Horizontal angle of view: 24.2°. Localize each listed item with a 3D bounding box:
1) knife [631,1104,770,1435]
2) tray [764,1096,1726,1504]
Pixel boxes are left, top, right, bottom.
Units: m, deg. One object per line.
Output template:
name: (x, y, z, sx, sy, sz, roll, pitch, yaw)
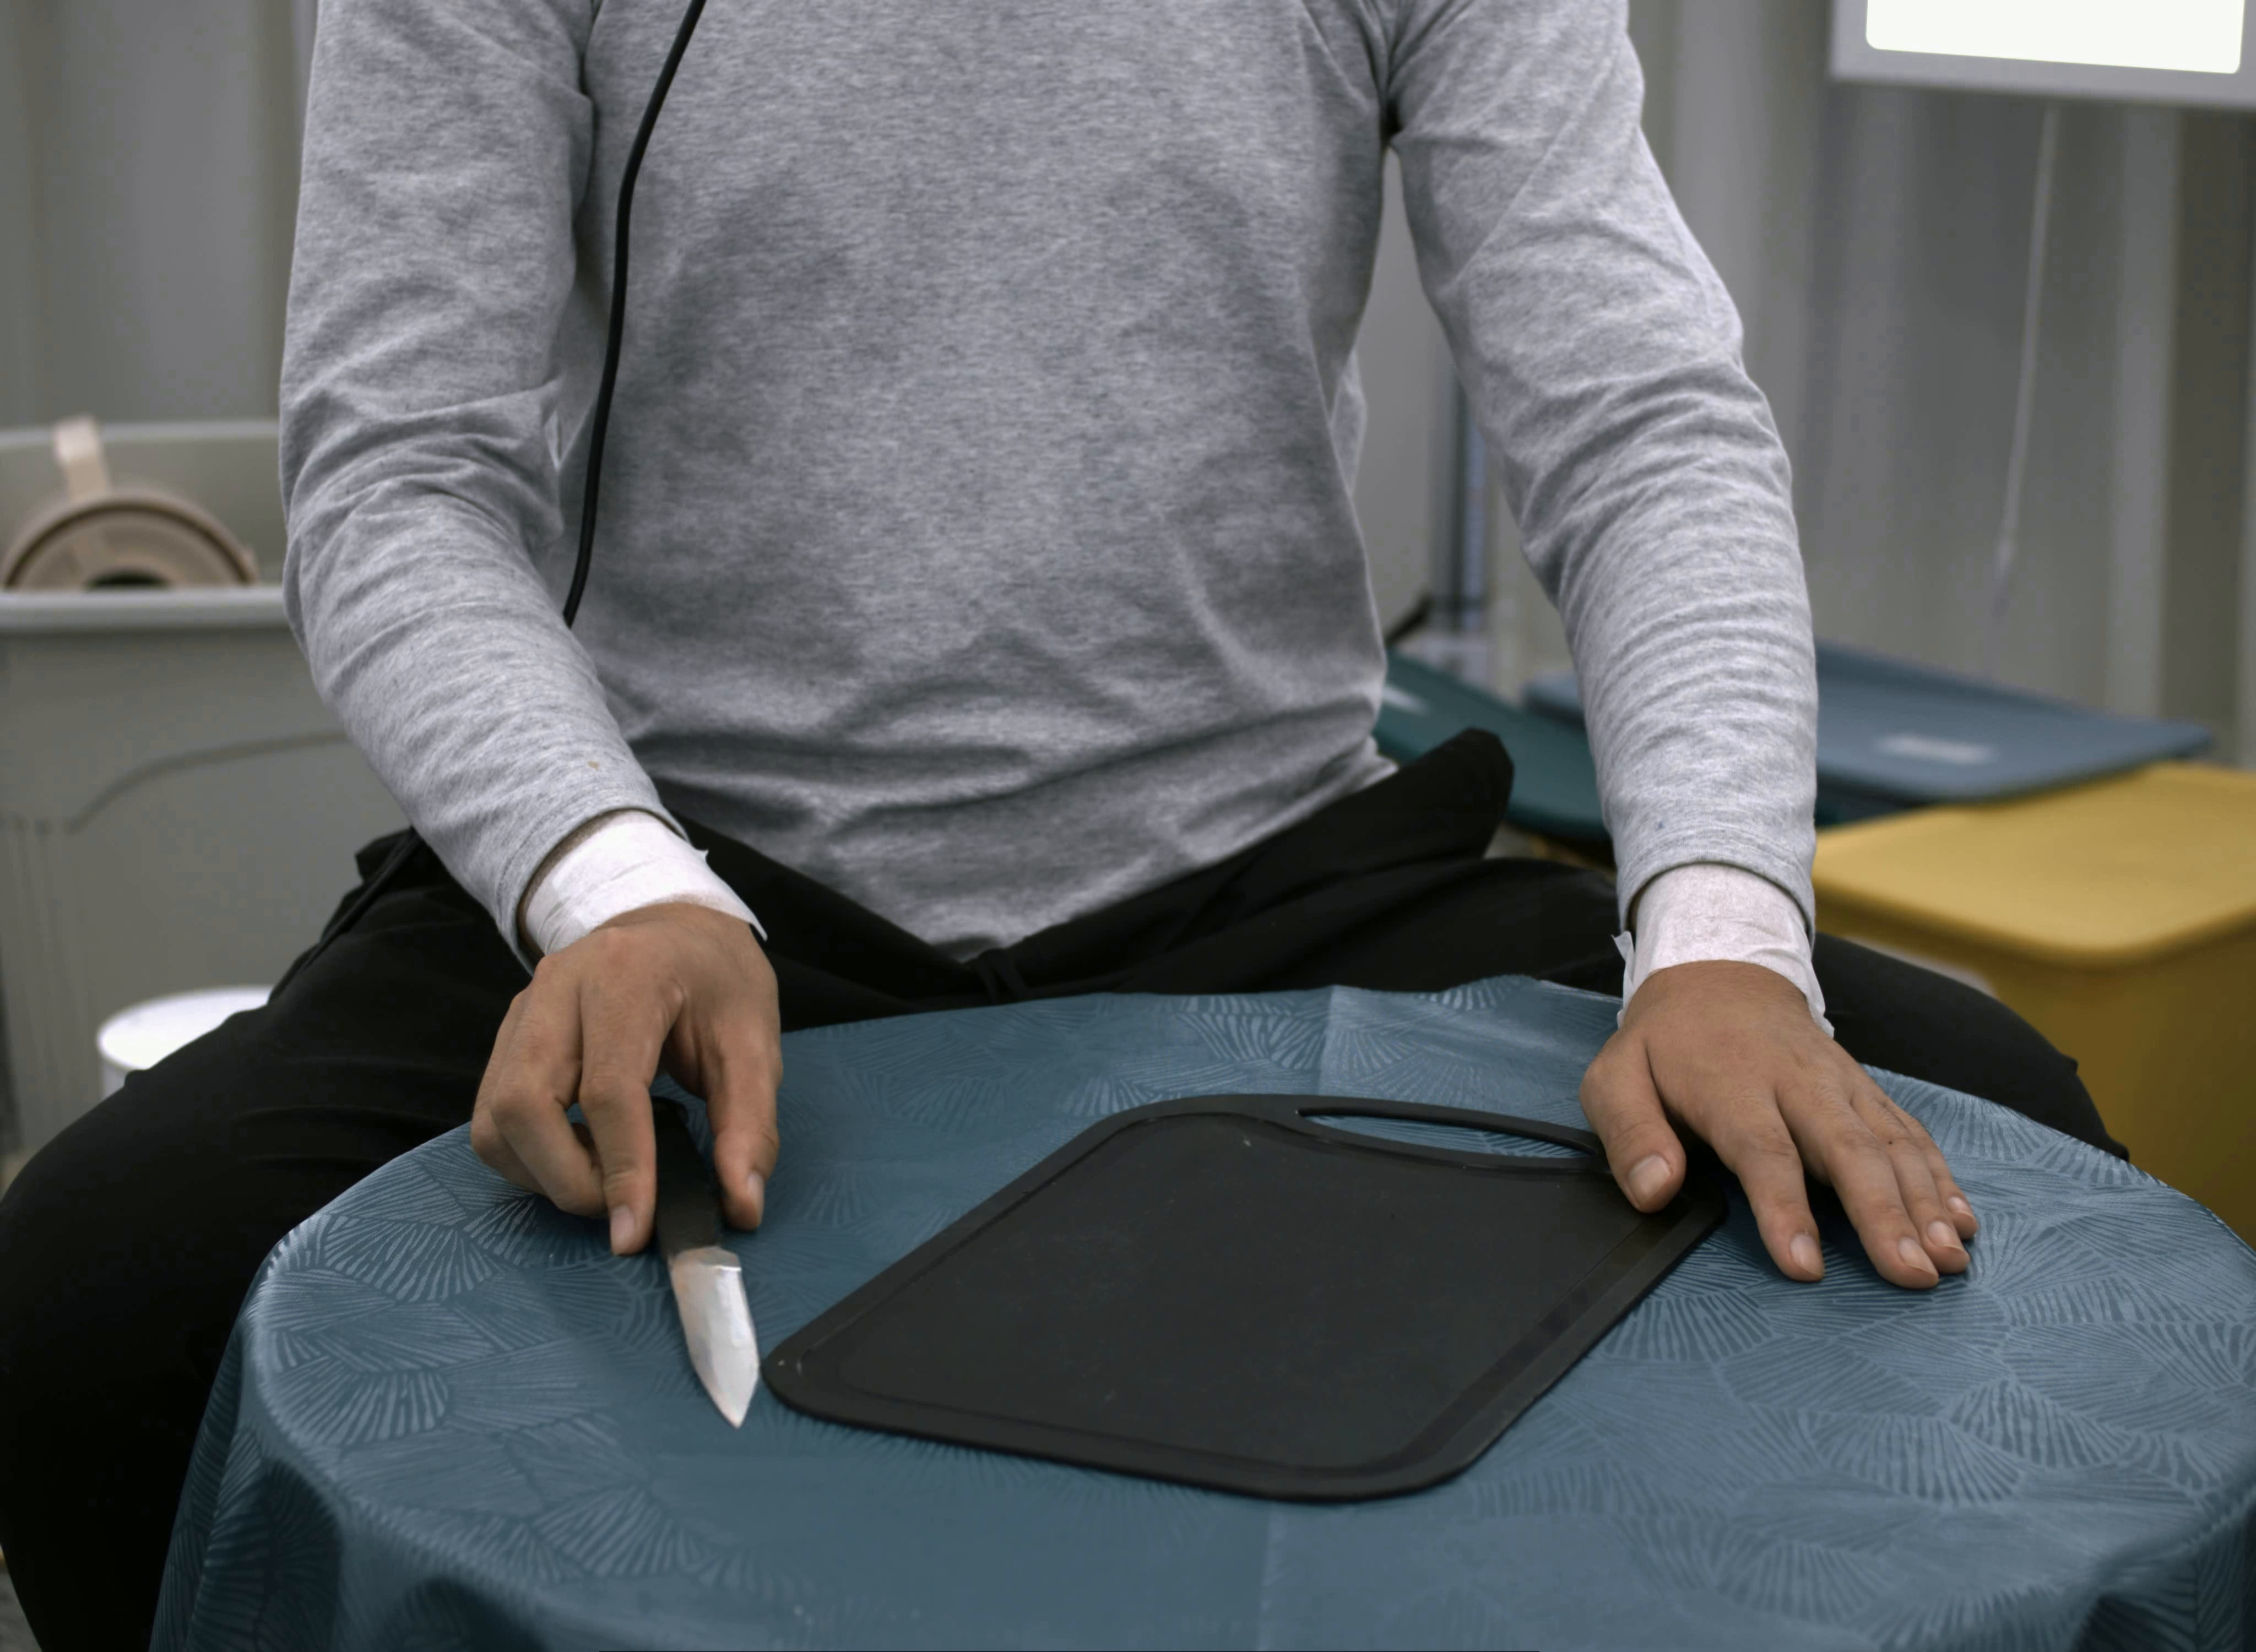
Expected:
knife: (-0.126, 0.128, 1.541, 0.024, 0.016, 0.236, 2, 18, -12)
tray: (0.044, 0.130, 1.553, 0.209, 0.010, 0.326, 7, 17, 23)
